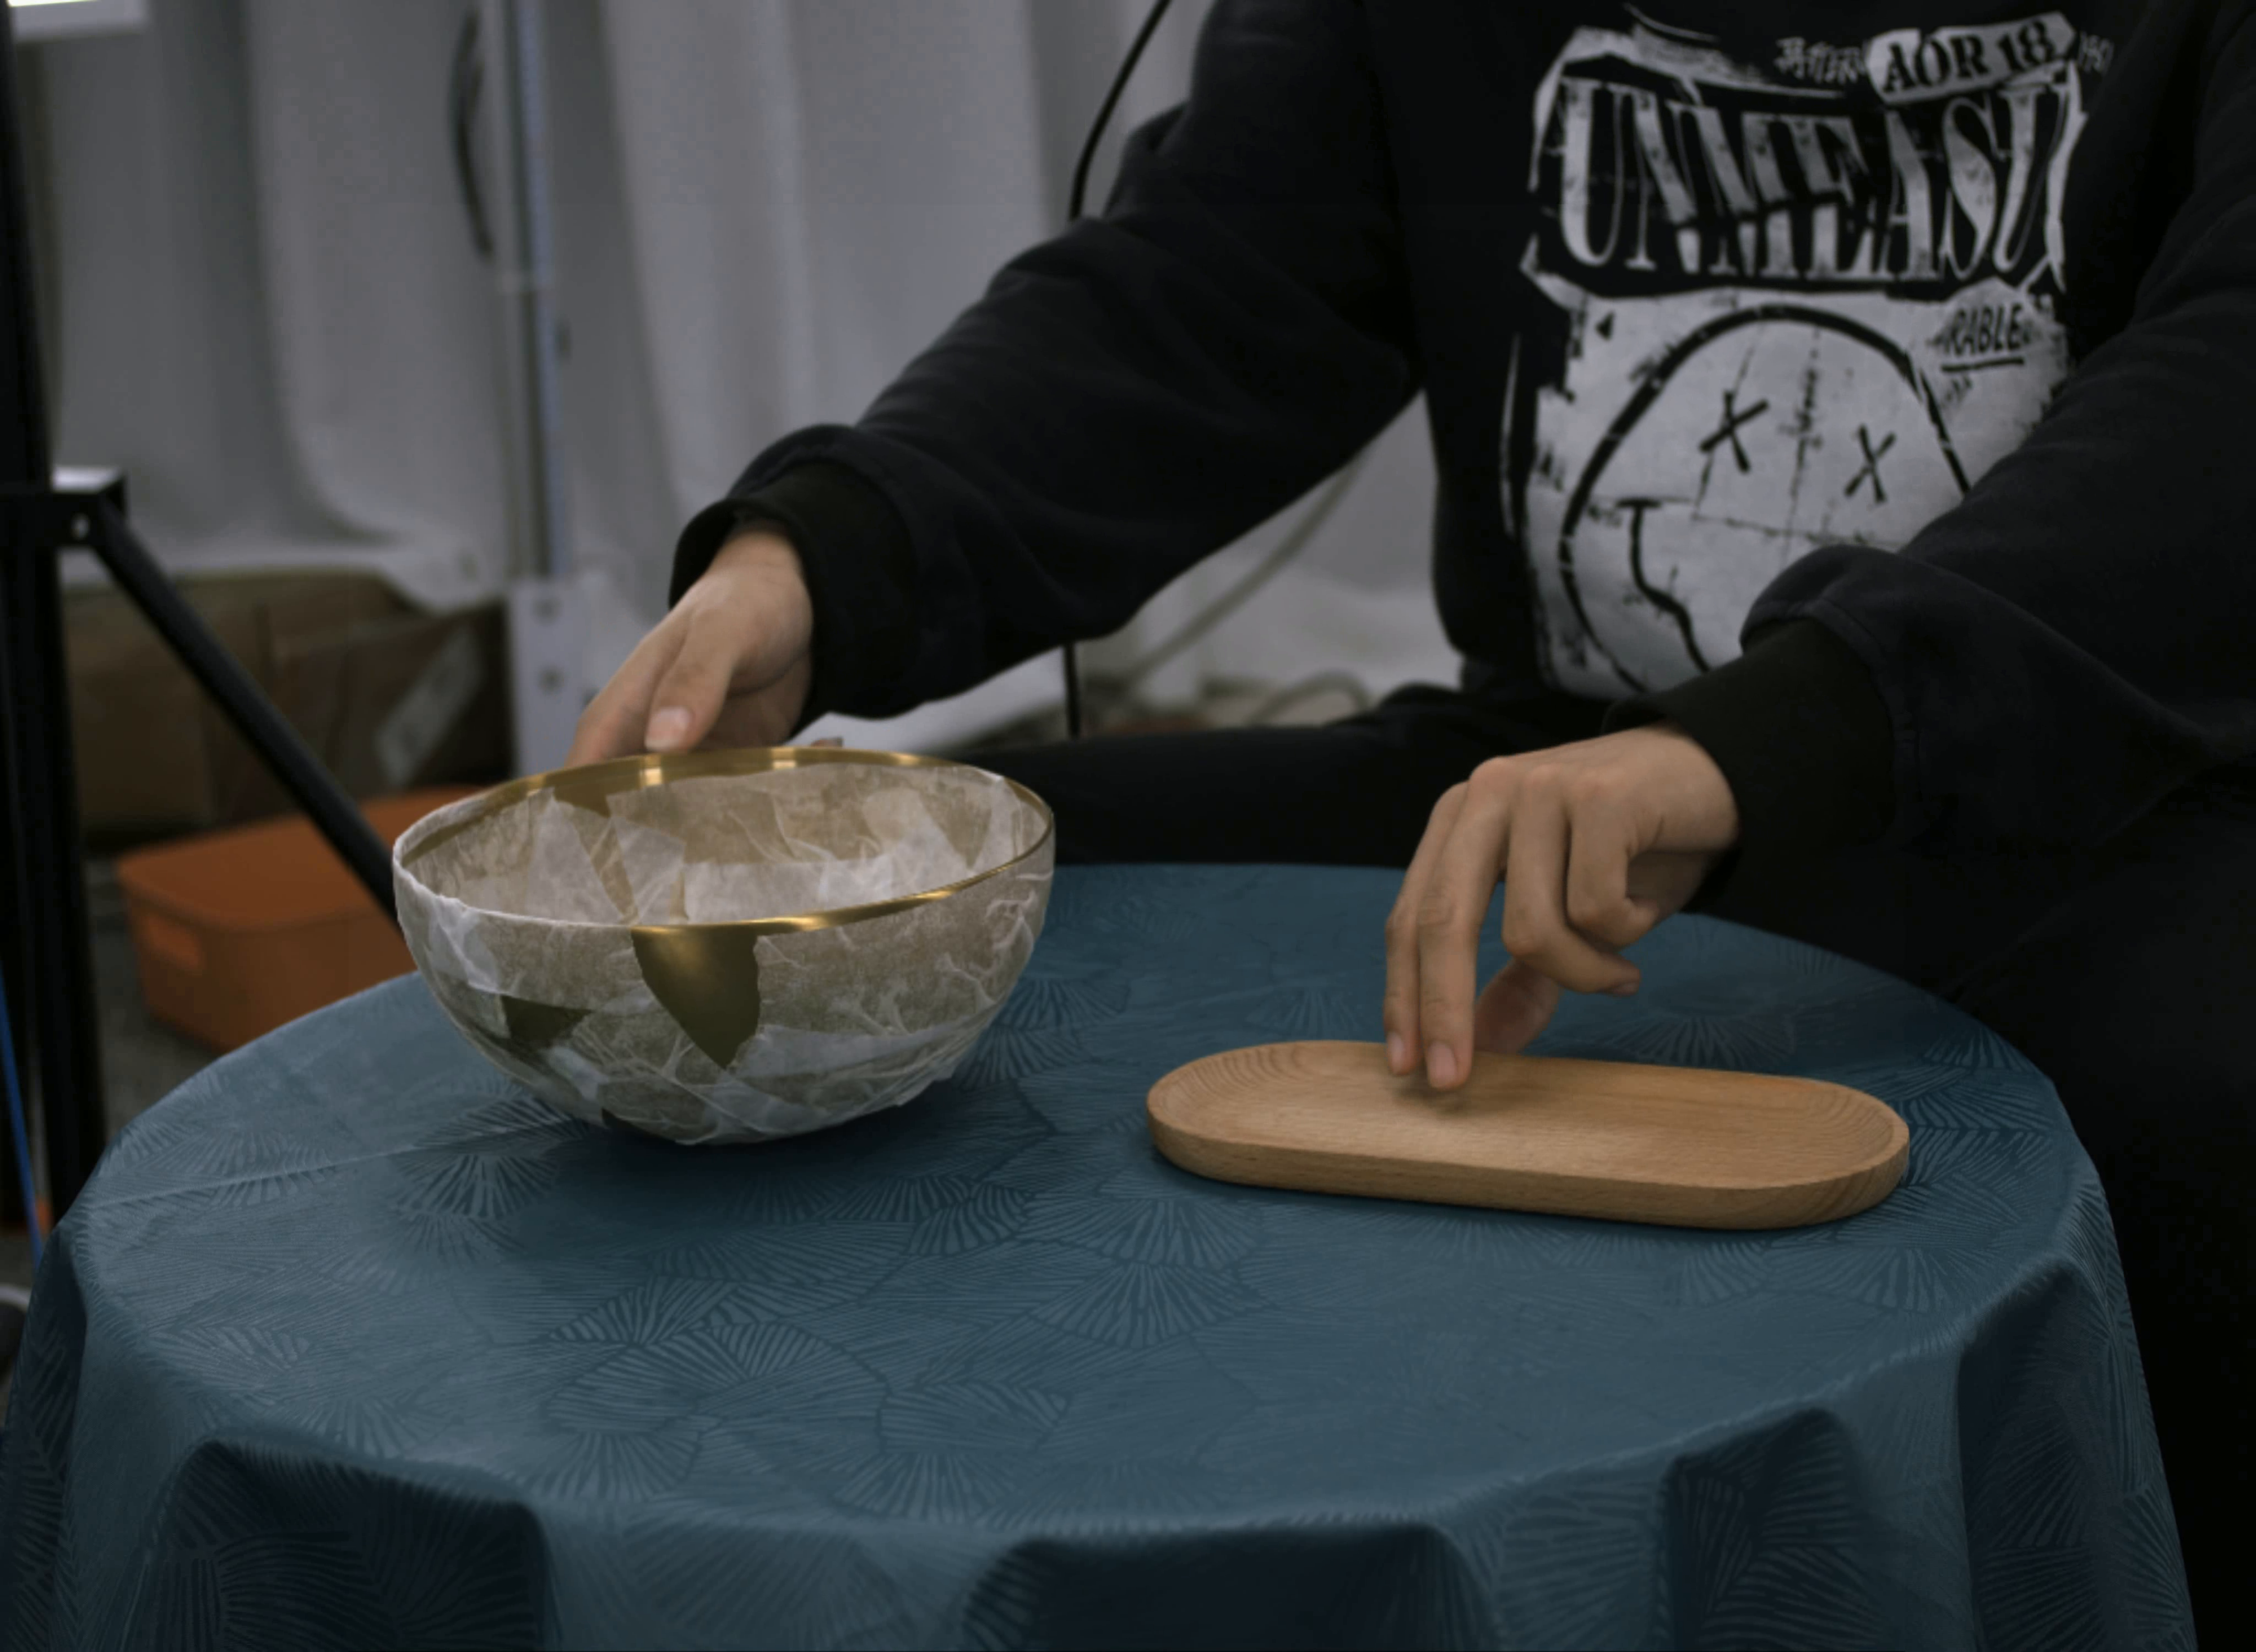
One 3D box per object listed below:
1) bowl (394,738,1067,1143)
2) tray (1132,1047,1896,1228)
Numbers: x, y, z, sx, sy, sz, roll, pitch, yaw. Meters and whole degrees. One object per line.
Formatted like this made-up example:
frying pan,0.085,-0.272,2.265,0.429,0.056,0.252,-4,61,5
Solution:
bowl,-0.117,0.043,1.636,0.213,0.094,0.216,-3,15,-1
tray,0.113,0.092,1.567,0.234,0.020,0.100,2,14,22
